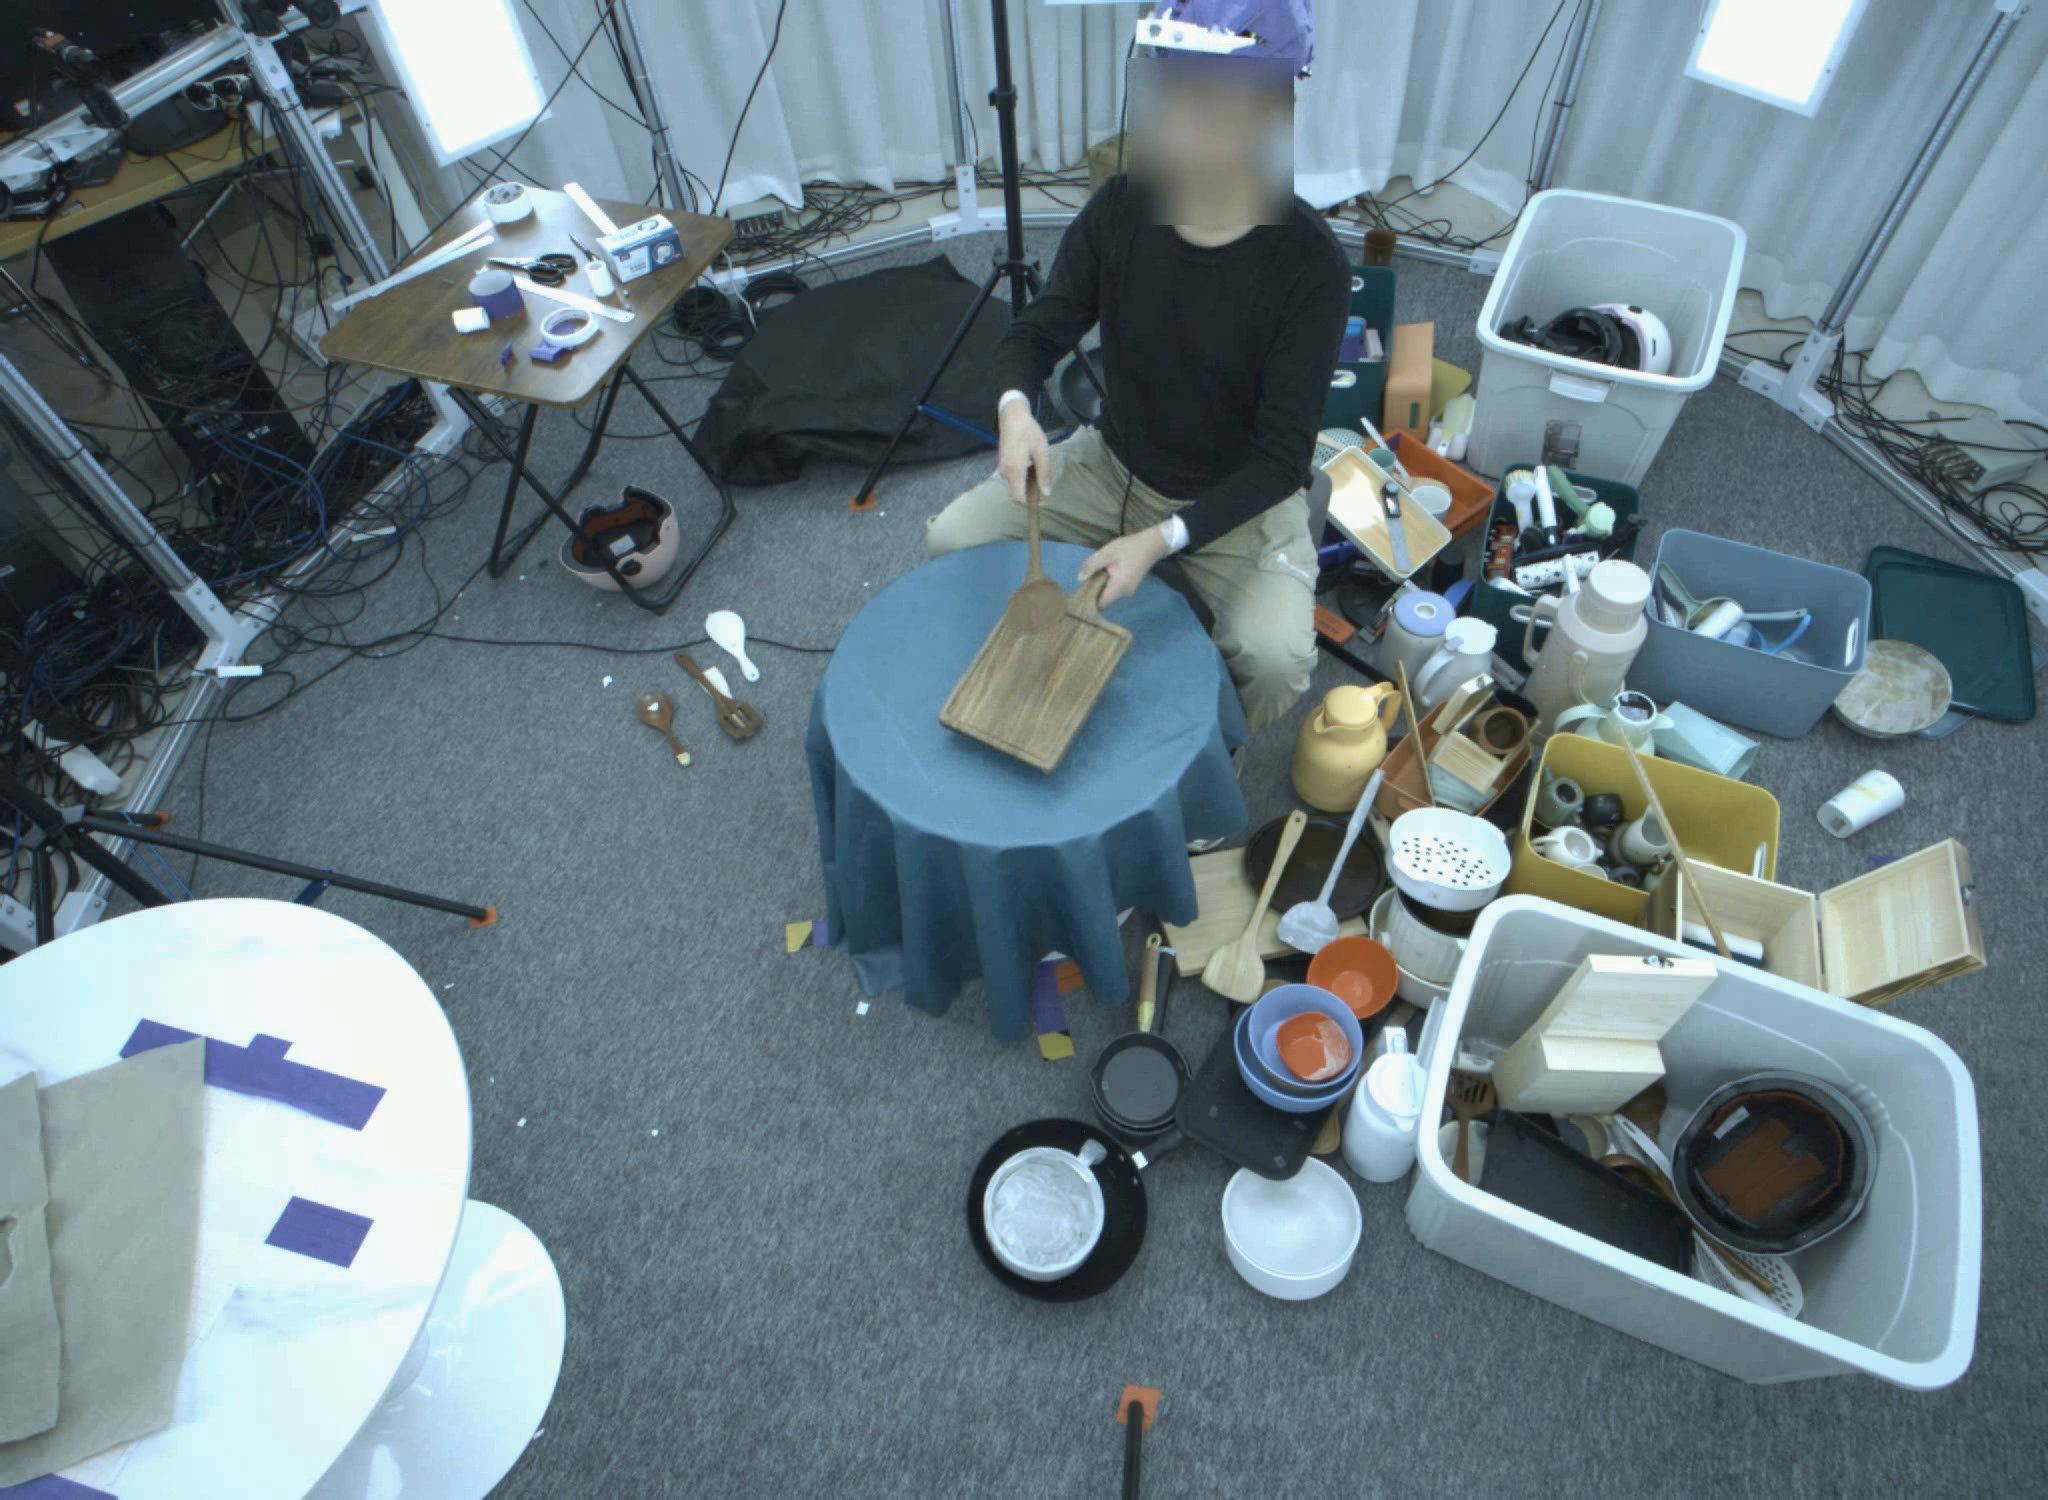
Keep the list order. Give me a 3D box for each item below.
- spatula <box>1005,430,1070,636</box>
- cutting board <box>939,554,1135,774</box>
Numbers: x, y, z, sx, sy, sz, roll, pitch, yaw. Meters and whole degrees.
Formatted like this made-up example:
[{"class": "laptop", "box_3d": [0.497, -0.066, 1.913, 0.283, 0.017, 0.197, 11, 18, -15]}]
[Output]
[{"class": "spatula", "box_3d": [0.014, -0.325, 1.763, 0.095, 0.016, 0.382, -12, 60, 17]}, {"class": "cutting board", "box_3d": [0.044, -0.145, 1.793, 0.198, 0.023, 0.352, 25, 71, 19]}]
